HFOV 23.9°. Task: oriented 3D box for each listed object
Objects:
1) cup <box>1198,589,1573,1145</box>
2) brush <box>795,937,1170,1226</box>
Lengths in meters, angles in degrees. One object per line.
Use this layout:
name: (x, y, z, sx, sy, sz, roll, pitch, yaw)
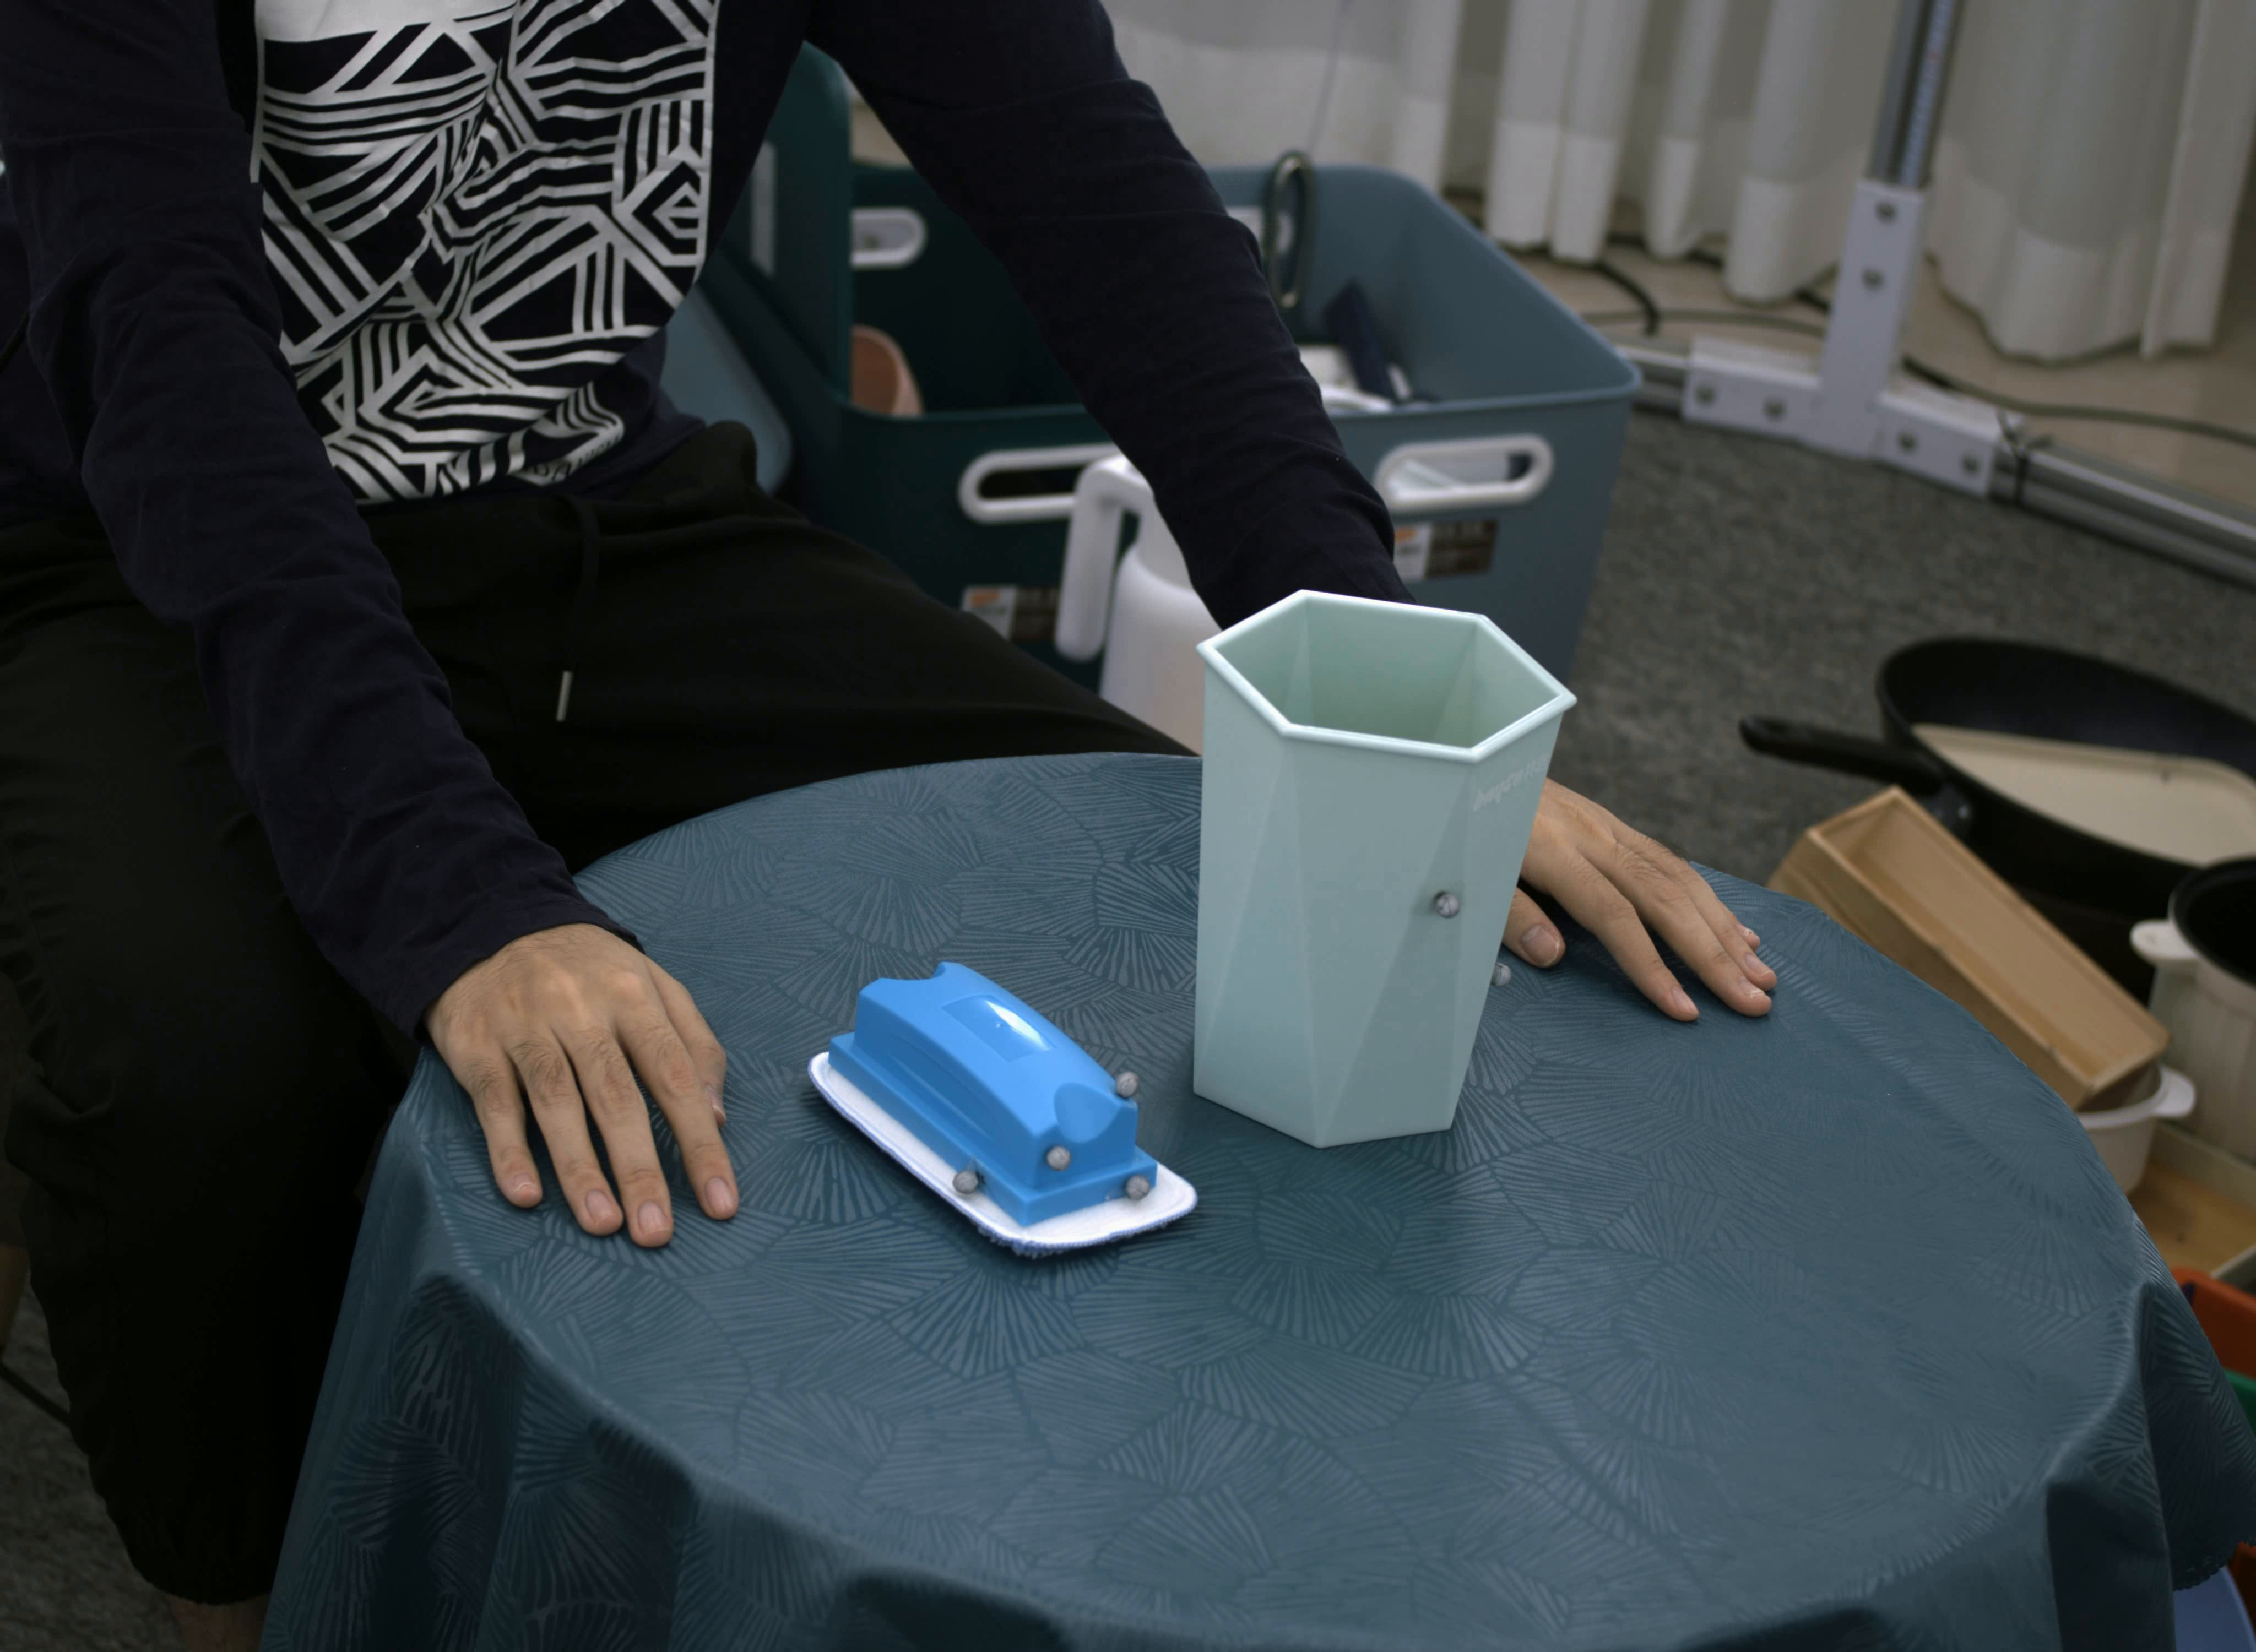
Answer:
cup: (0.081, 0.017, 1.855, 0.116, 0.162, 0.130, 21, 29, 28)
brush: (-0.047, 0.082, 1.810, 0.083, 0.056, 0.145, -9, 33, -33)
